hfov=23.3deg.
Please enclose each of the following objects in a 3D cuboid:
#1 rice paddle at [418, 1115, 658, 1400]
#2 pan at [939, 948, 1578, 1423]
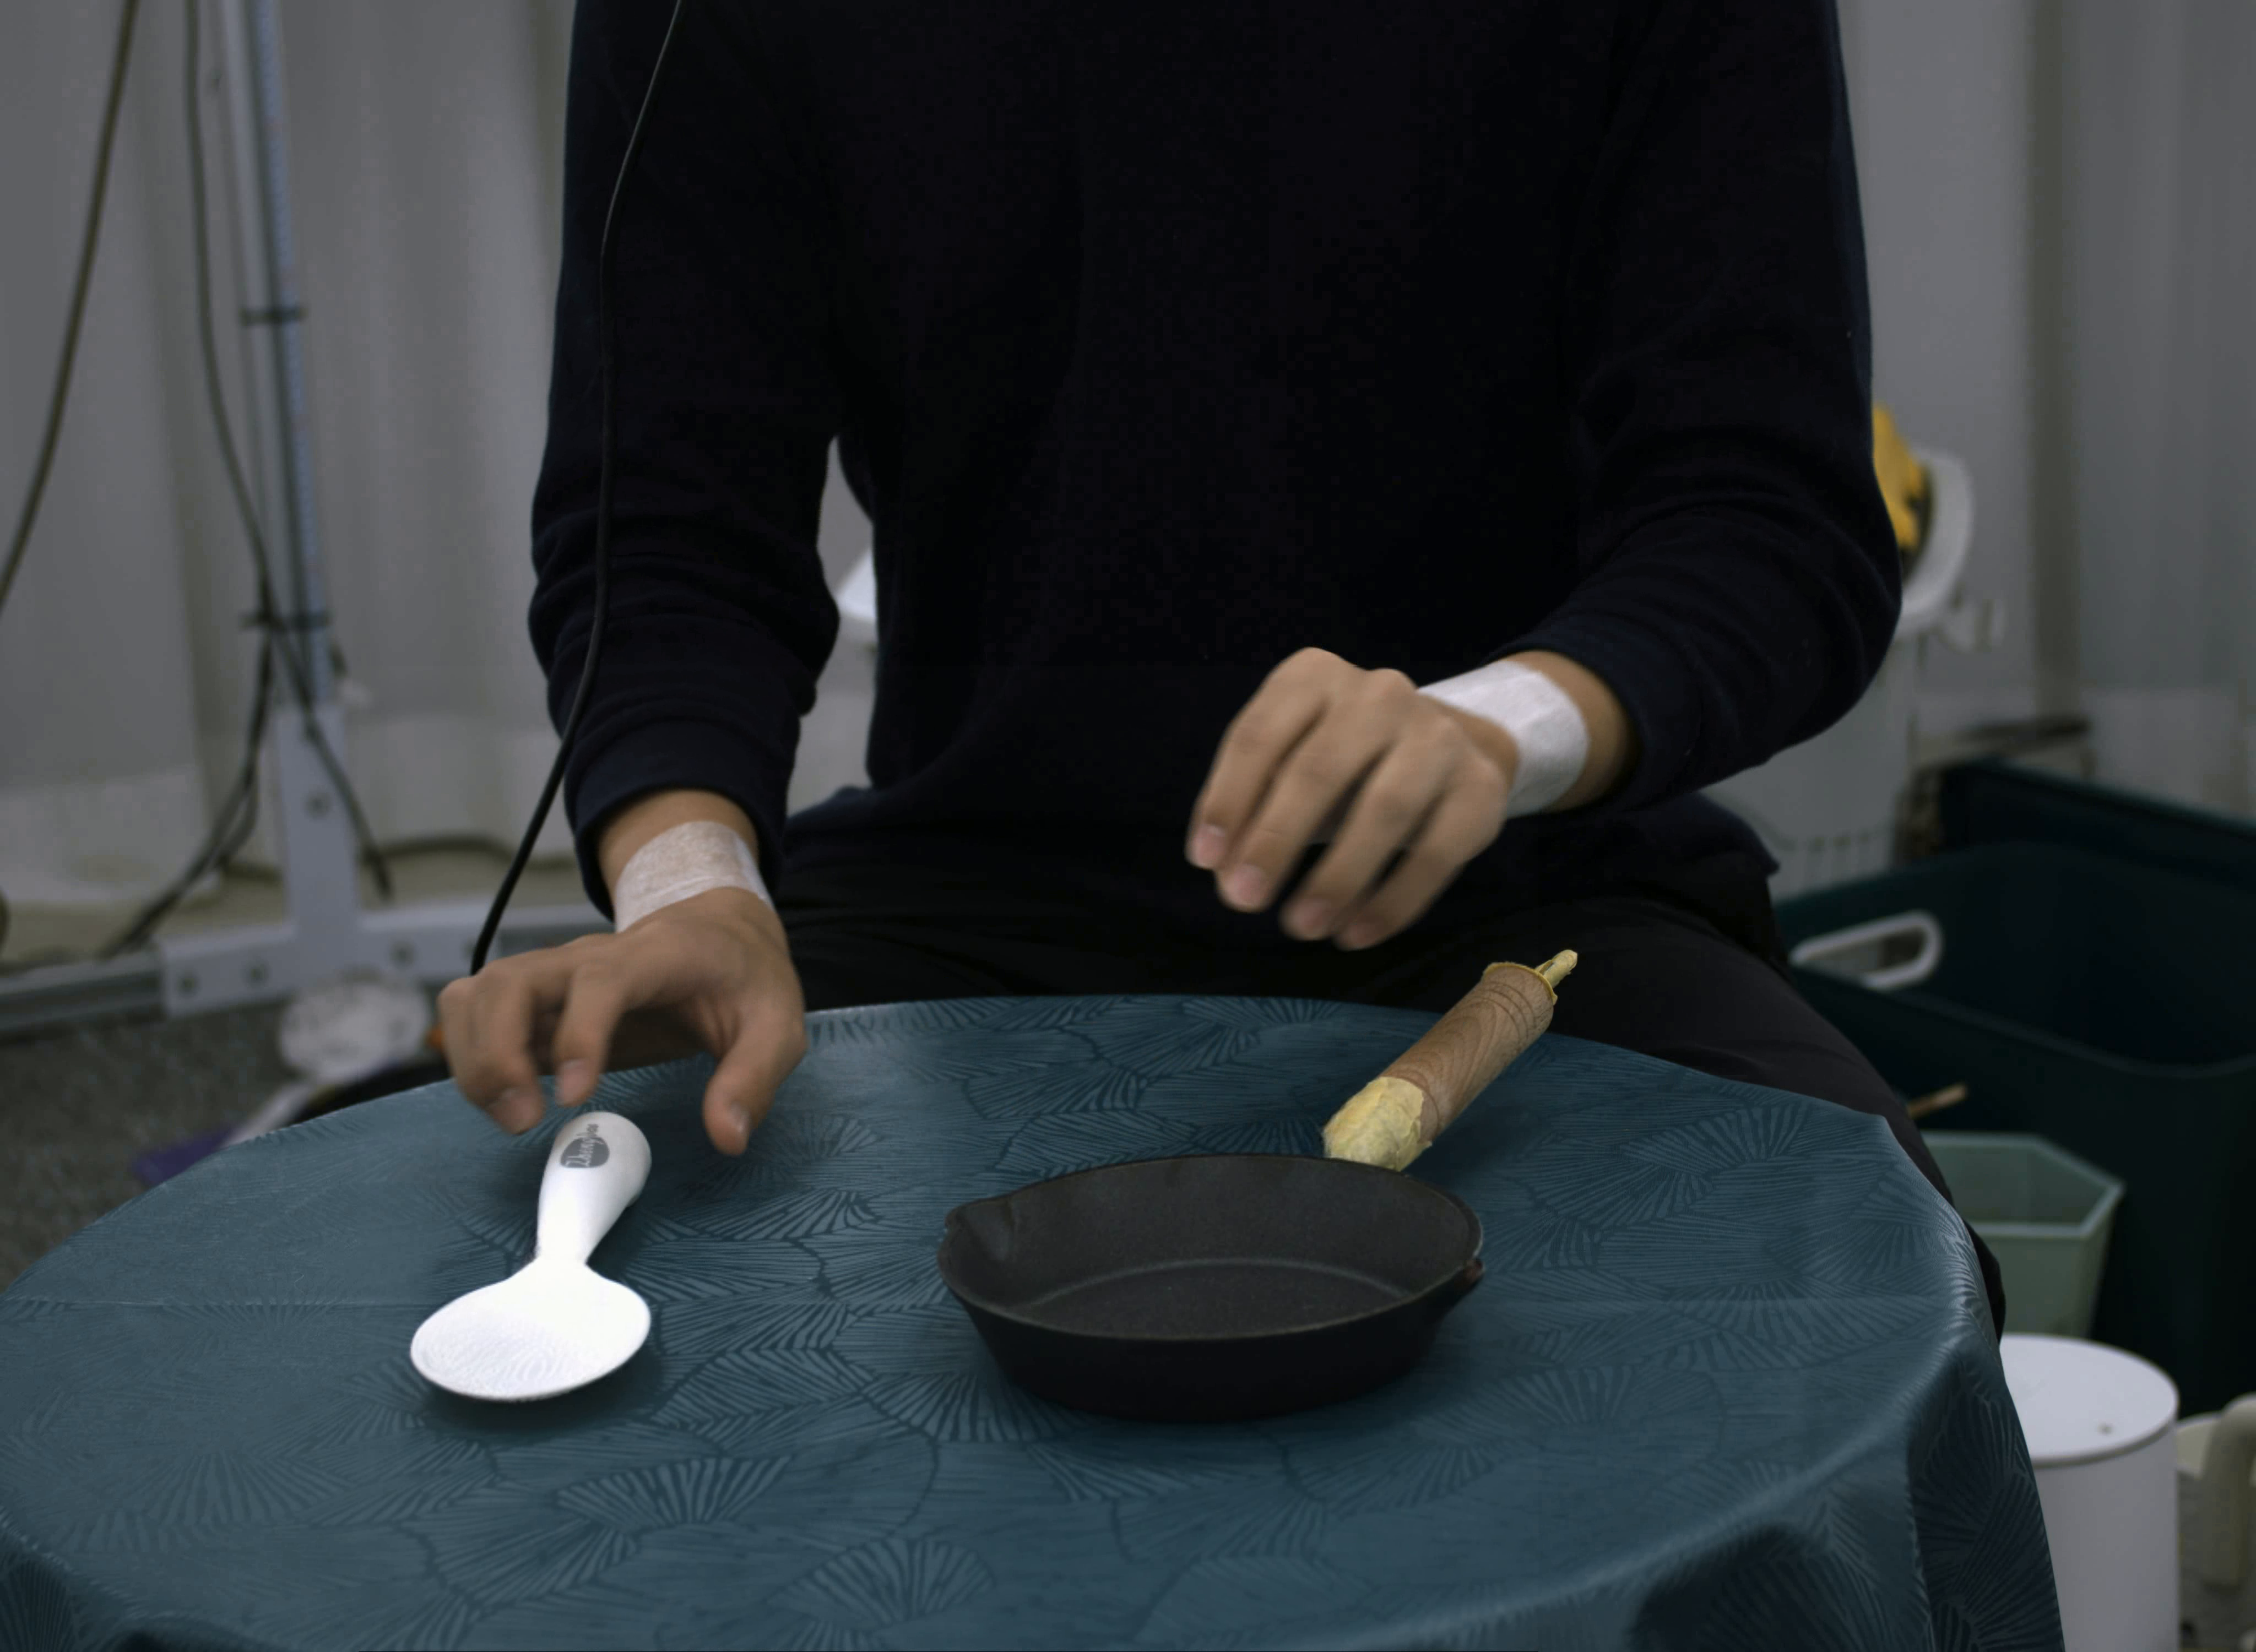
[{"bbox_3d":[-0.168,0.131,1.633,0.068,0.029,0.206,-4,15,2],"label":"rice paddle"},{"bbox_3d":[0.065,0.105,1.642,0.169,0.049,0.325,5,19,29],"label":"pan"}]
